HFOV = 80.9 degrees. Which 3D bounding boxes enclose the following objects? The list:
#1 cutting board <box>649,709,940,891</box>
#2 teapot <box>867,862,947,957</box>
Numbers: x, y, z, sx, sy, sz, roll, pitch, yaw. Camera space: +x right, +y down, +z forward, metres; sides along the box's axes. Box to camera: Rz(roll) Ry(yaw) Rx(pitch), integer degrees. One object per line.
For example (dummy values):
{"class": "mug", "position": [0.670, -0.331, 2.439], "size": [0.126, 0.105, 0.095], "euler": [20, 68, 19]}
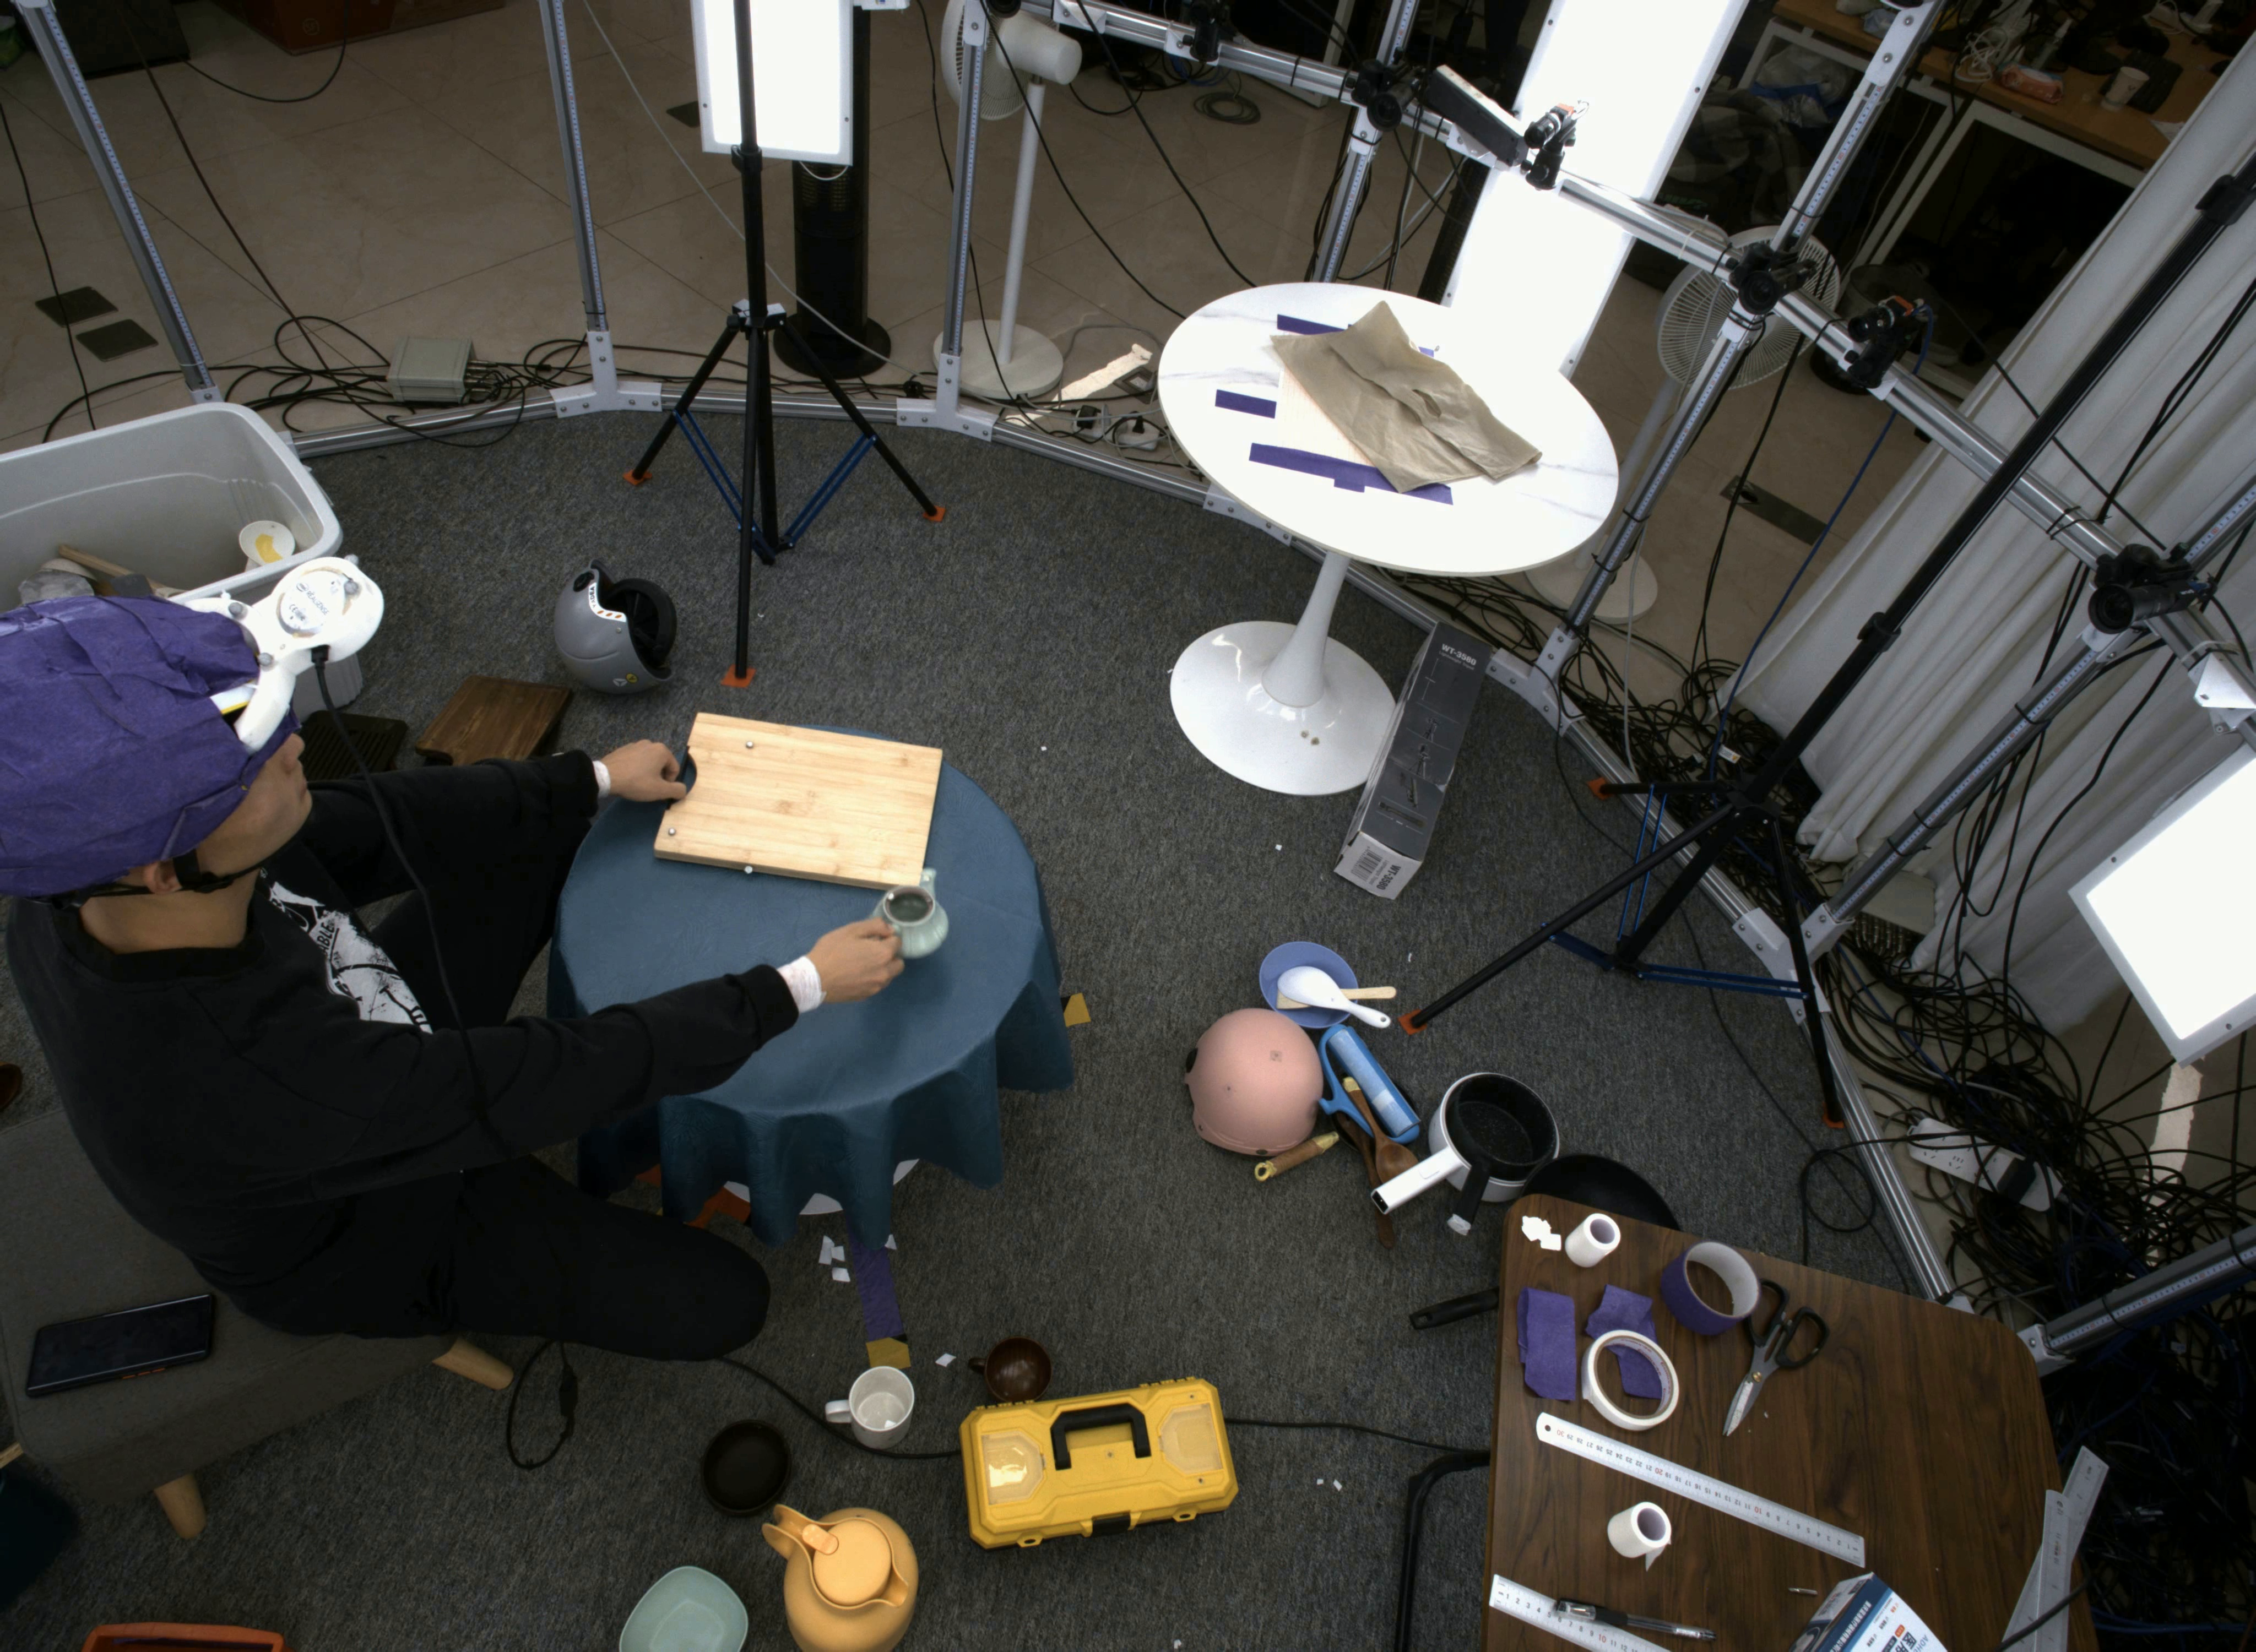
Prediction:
{"class": "cutting board", "position": [-0.437, -0.036, 1.730], "size": [0.348, 0.024, 0.246], "euler": [8, 52, -10]}
{"class": "teapot", "position": [-0.269, 0.108, 1.571], "size": [0.095, 0.063, 0.135], "euler": [21, 46, 5]}
